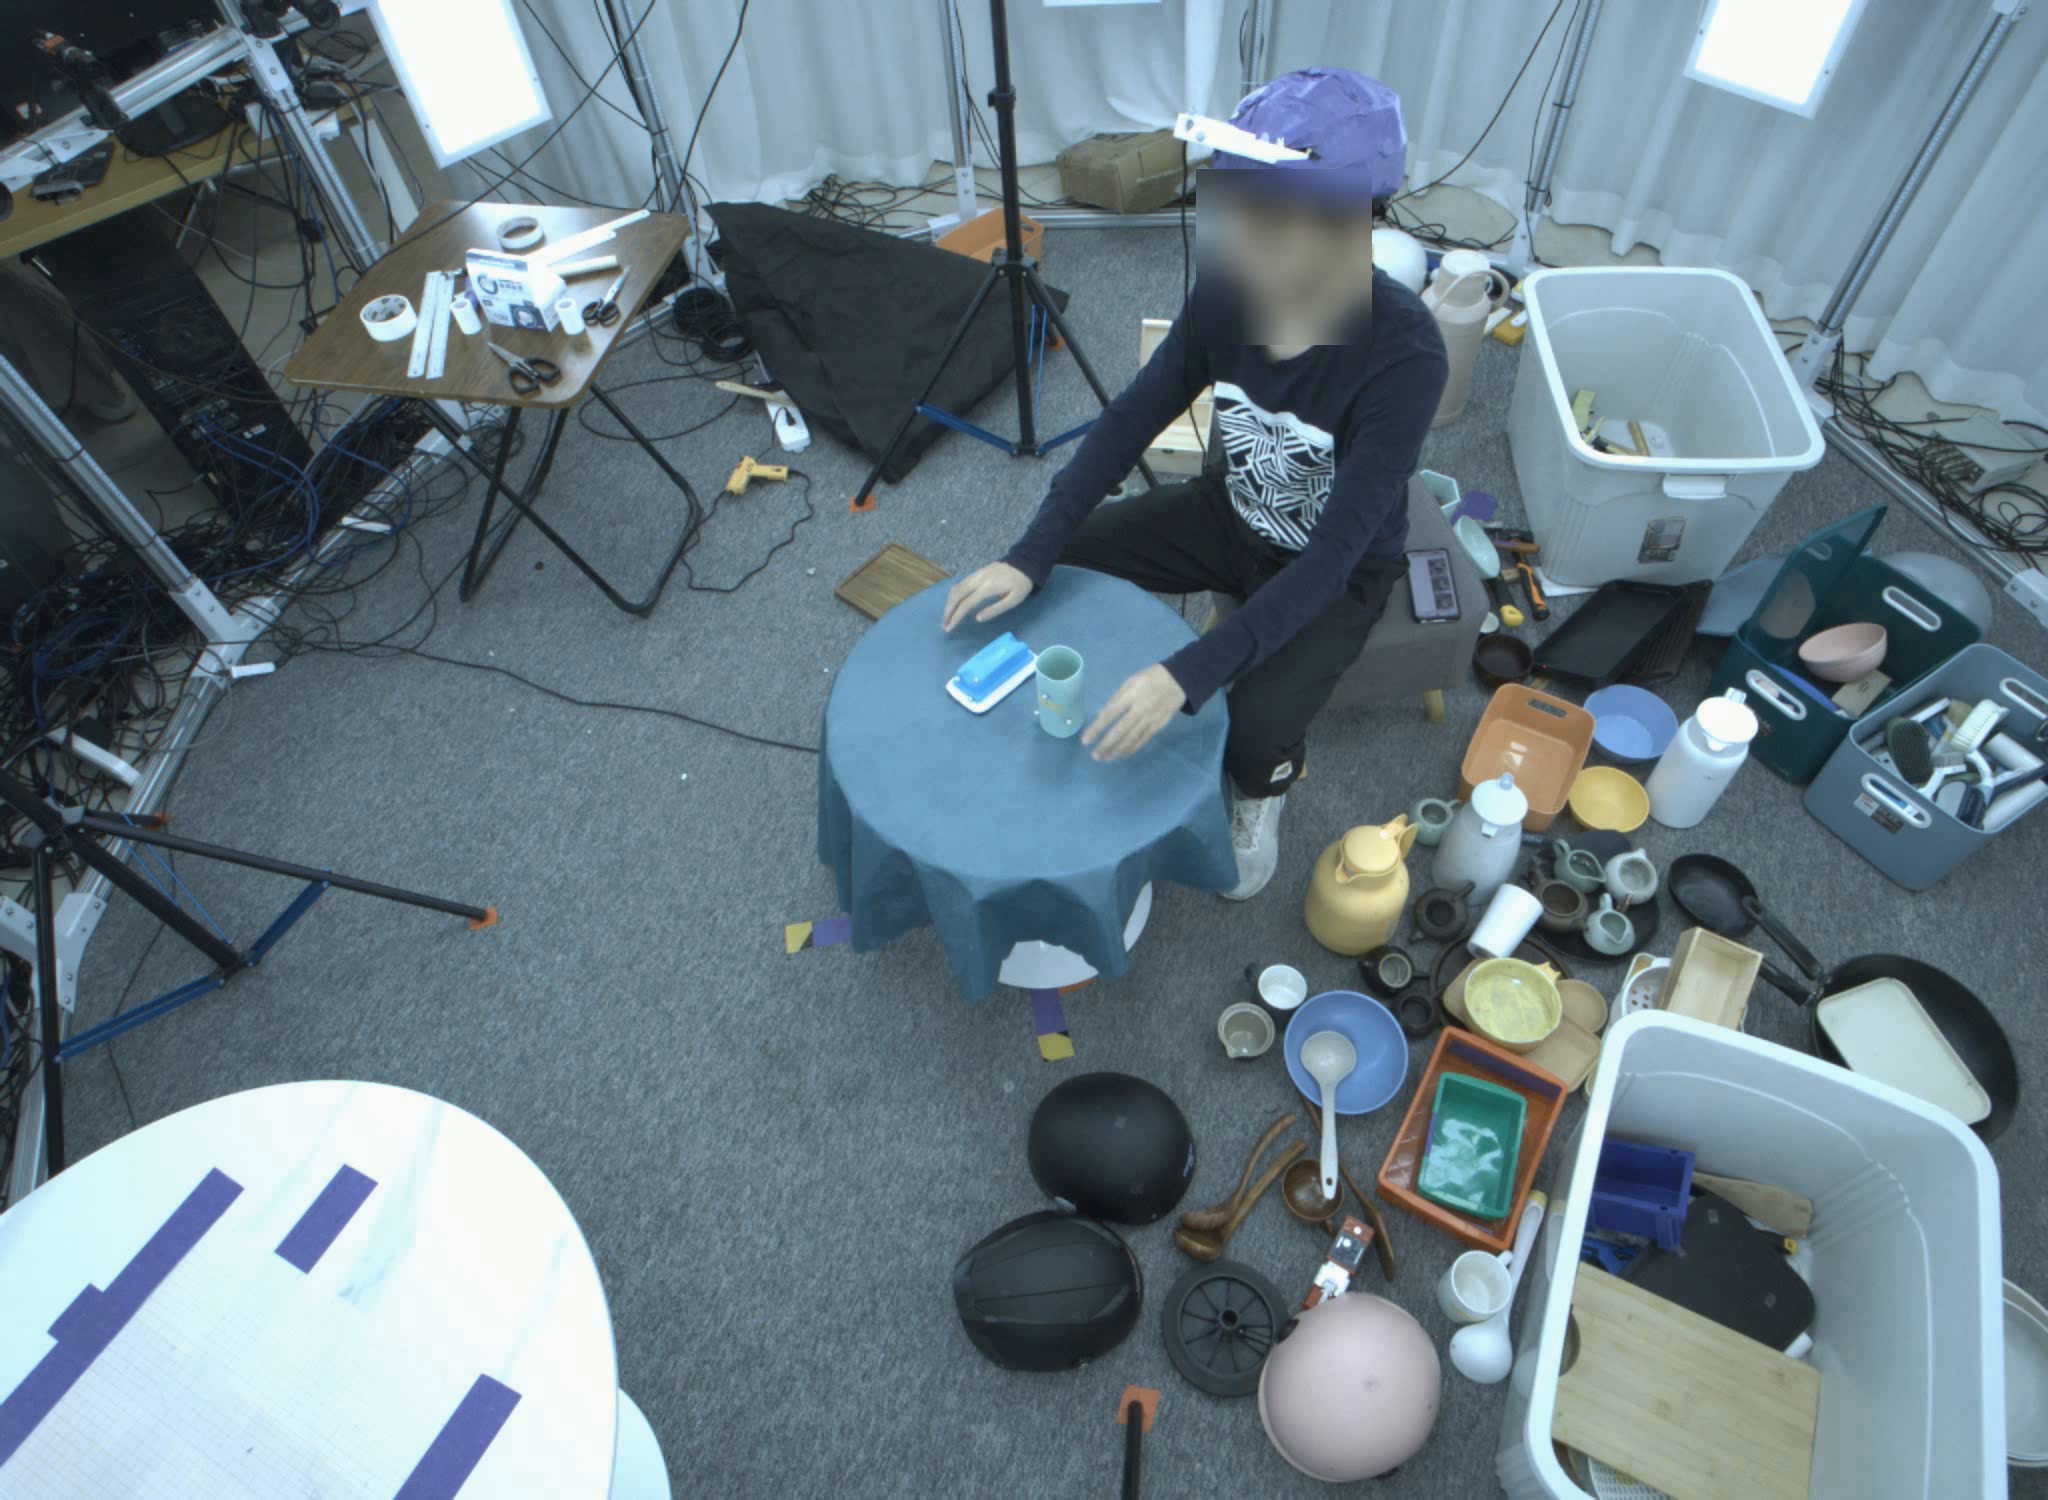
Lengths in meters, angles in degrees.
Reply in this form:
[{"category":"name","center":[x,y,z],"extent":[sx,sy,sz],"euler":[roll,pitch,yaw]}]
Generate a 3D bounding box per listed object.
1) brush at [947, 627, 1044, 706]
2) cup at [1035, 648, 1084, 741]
[{"category":"brush","center":[-0.044,-0.133,1.838],"extent":[0.145,0.056,0.082],"euler":[-39,64,-20]},{"category":"cup","center":[0.053,-0.080,1.760],"extent":[0.066,0.134,0.066],"euler":[-1,53,3]}]
